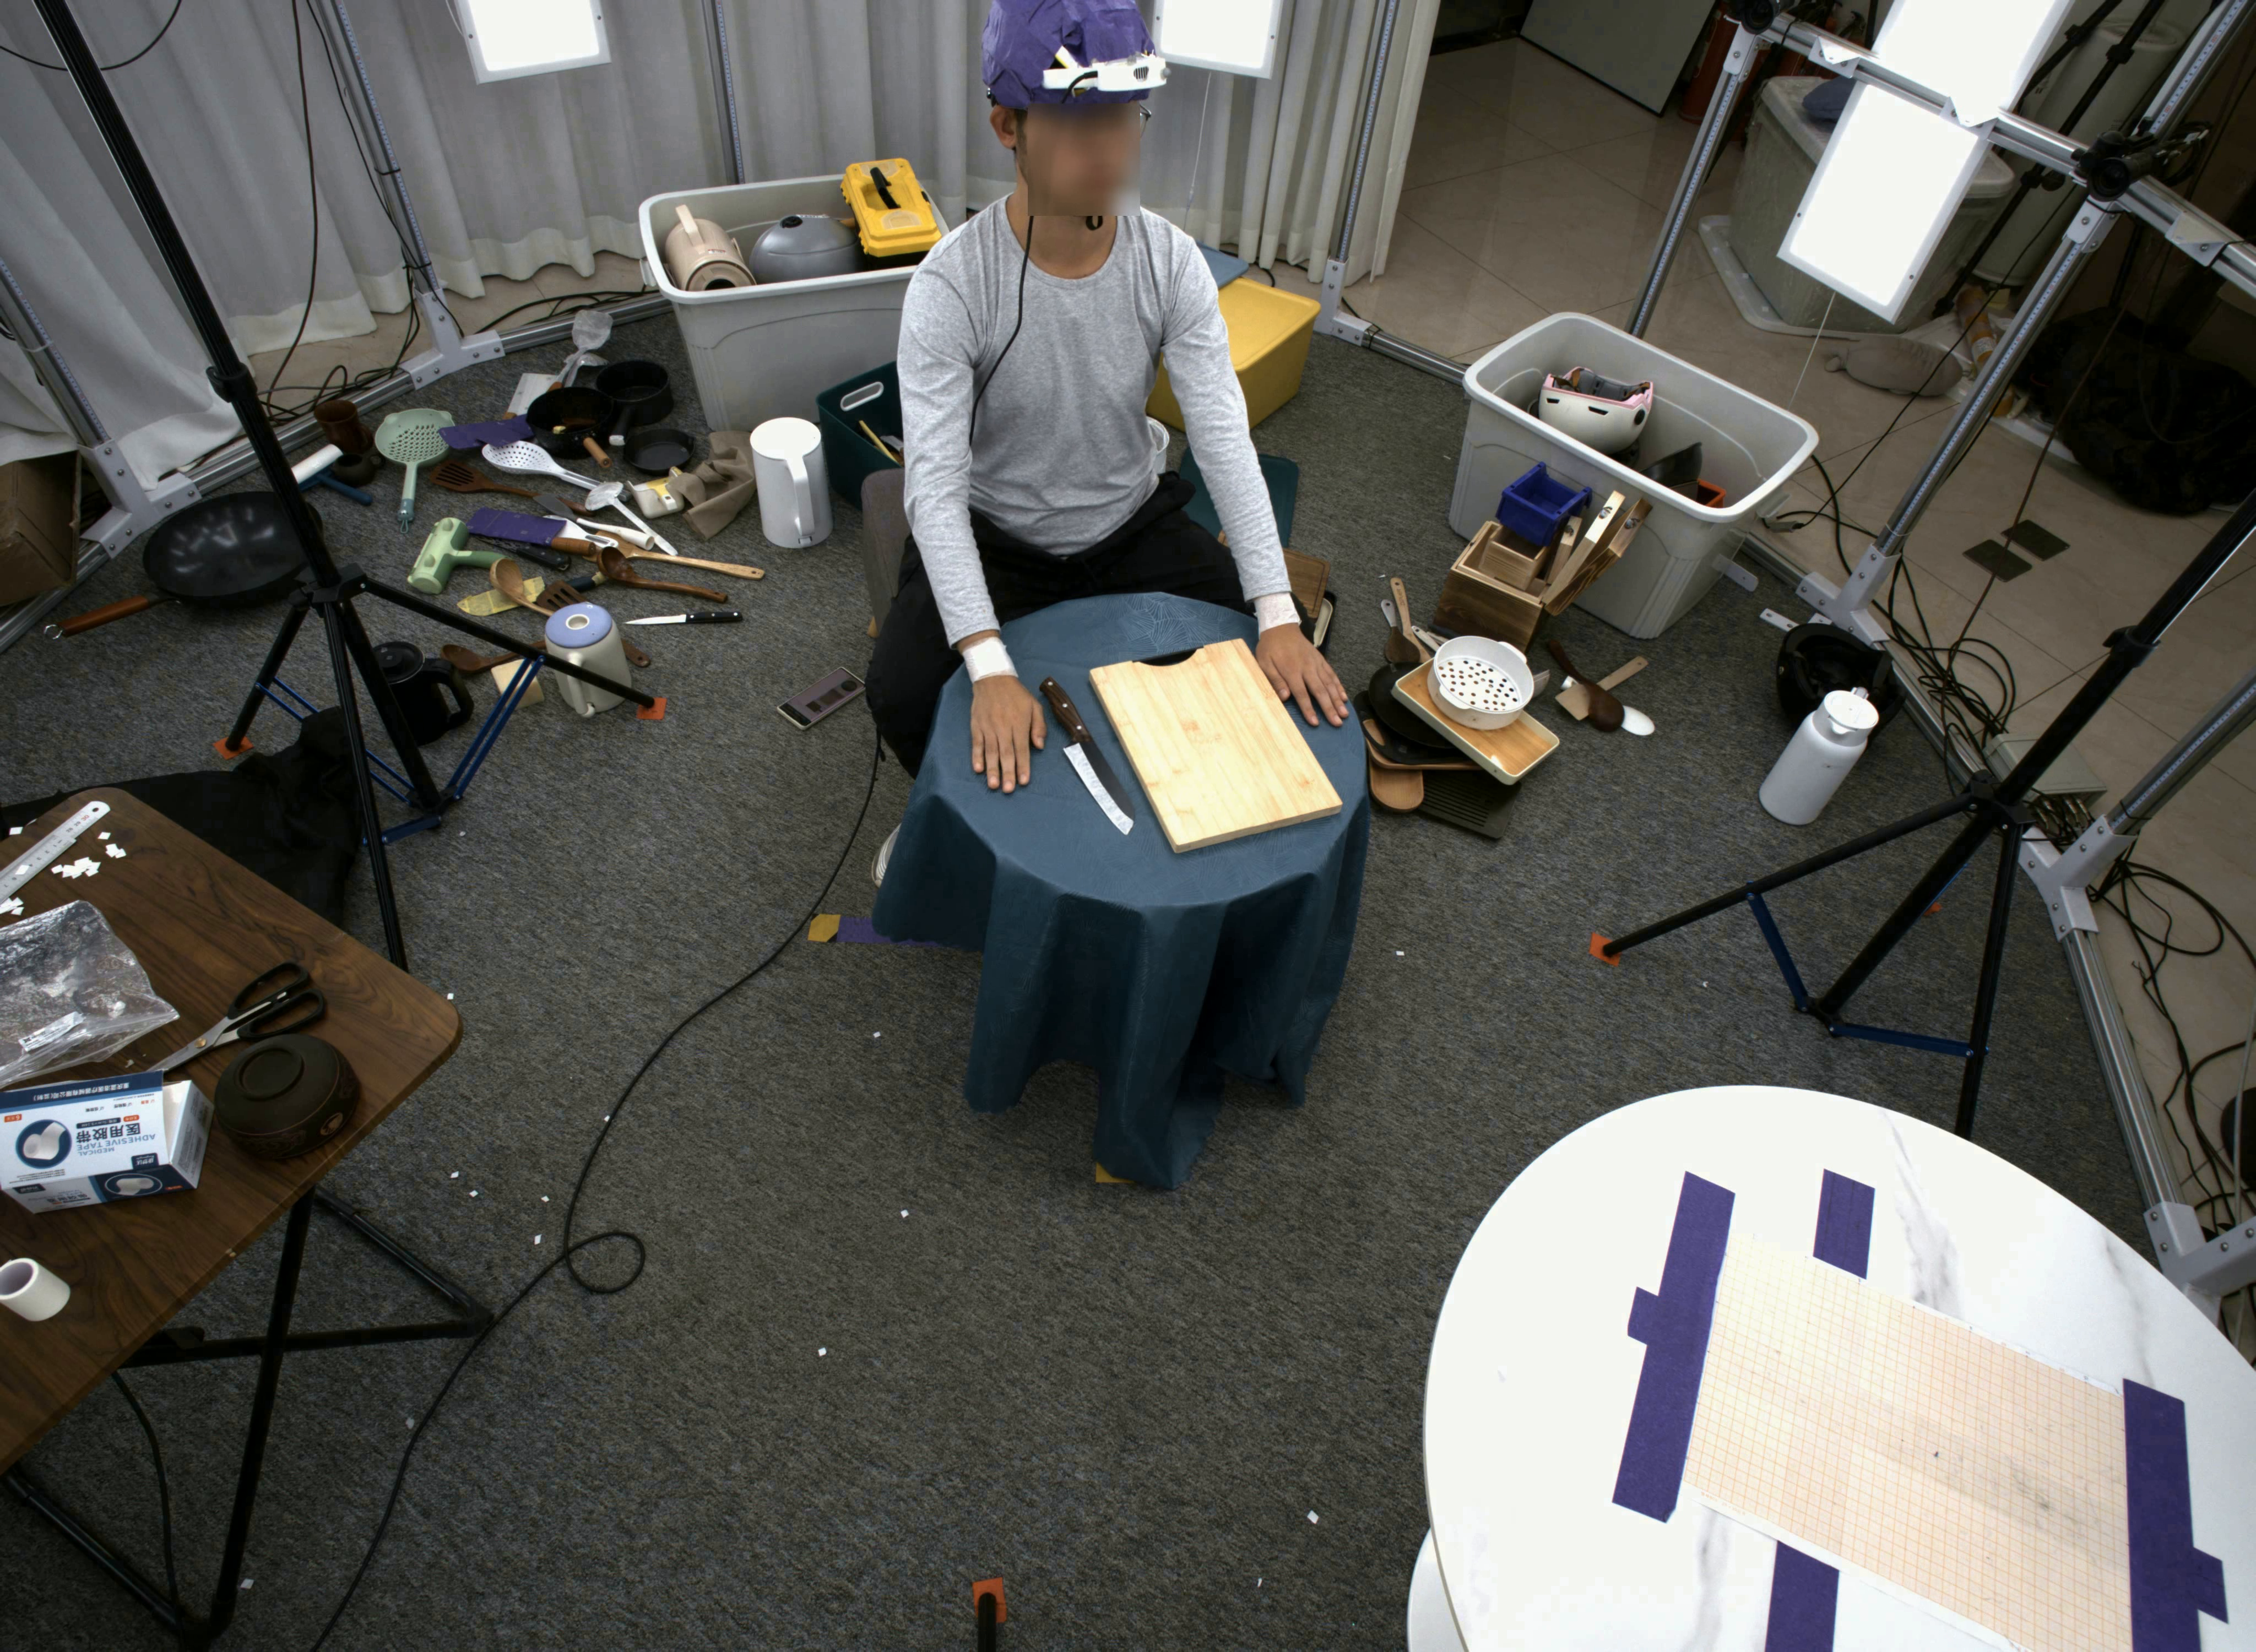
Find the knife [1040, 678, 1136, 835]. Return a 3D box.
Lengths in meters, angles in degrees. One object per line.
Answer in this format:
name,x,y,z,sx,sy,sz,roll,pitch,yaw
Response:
knife,-0.056,-0.097,1.738,0.050,0.019,0.295,-19,55,-14

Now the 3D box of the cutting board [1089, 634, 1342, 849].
cutting board,0.113,-0.125,1.773,0.251,0.023,0.357,-13,51,-16
